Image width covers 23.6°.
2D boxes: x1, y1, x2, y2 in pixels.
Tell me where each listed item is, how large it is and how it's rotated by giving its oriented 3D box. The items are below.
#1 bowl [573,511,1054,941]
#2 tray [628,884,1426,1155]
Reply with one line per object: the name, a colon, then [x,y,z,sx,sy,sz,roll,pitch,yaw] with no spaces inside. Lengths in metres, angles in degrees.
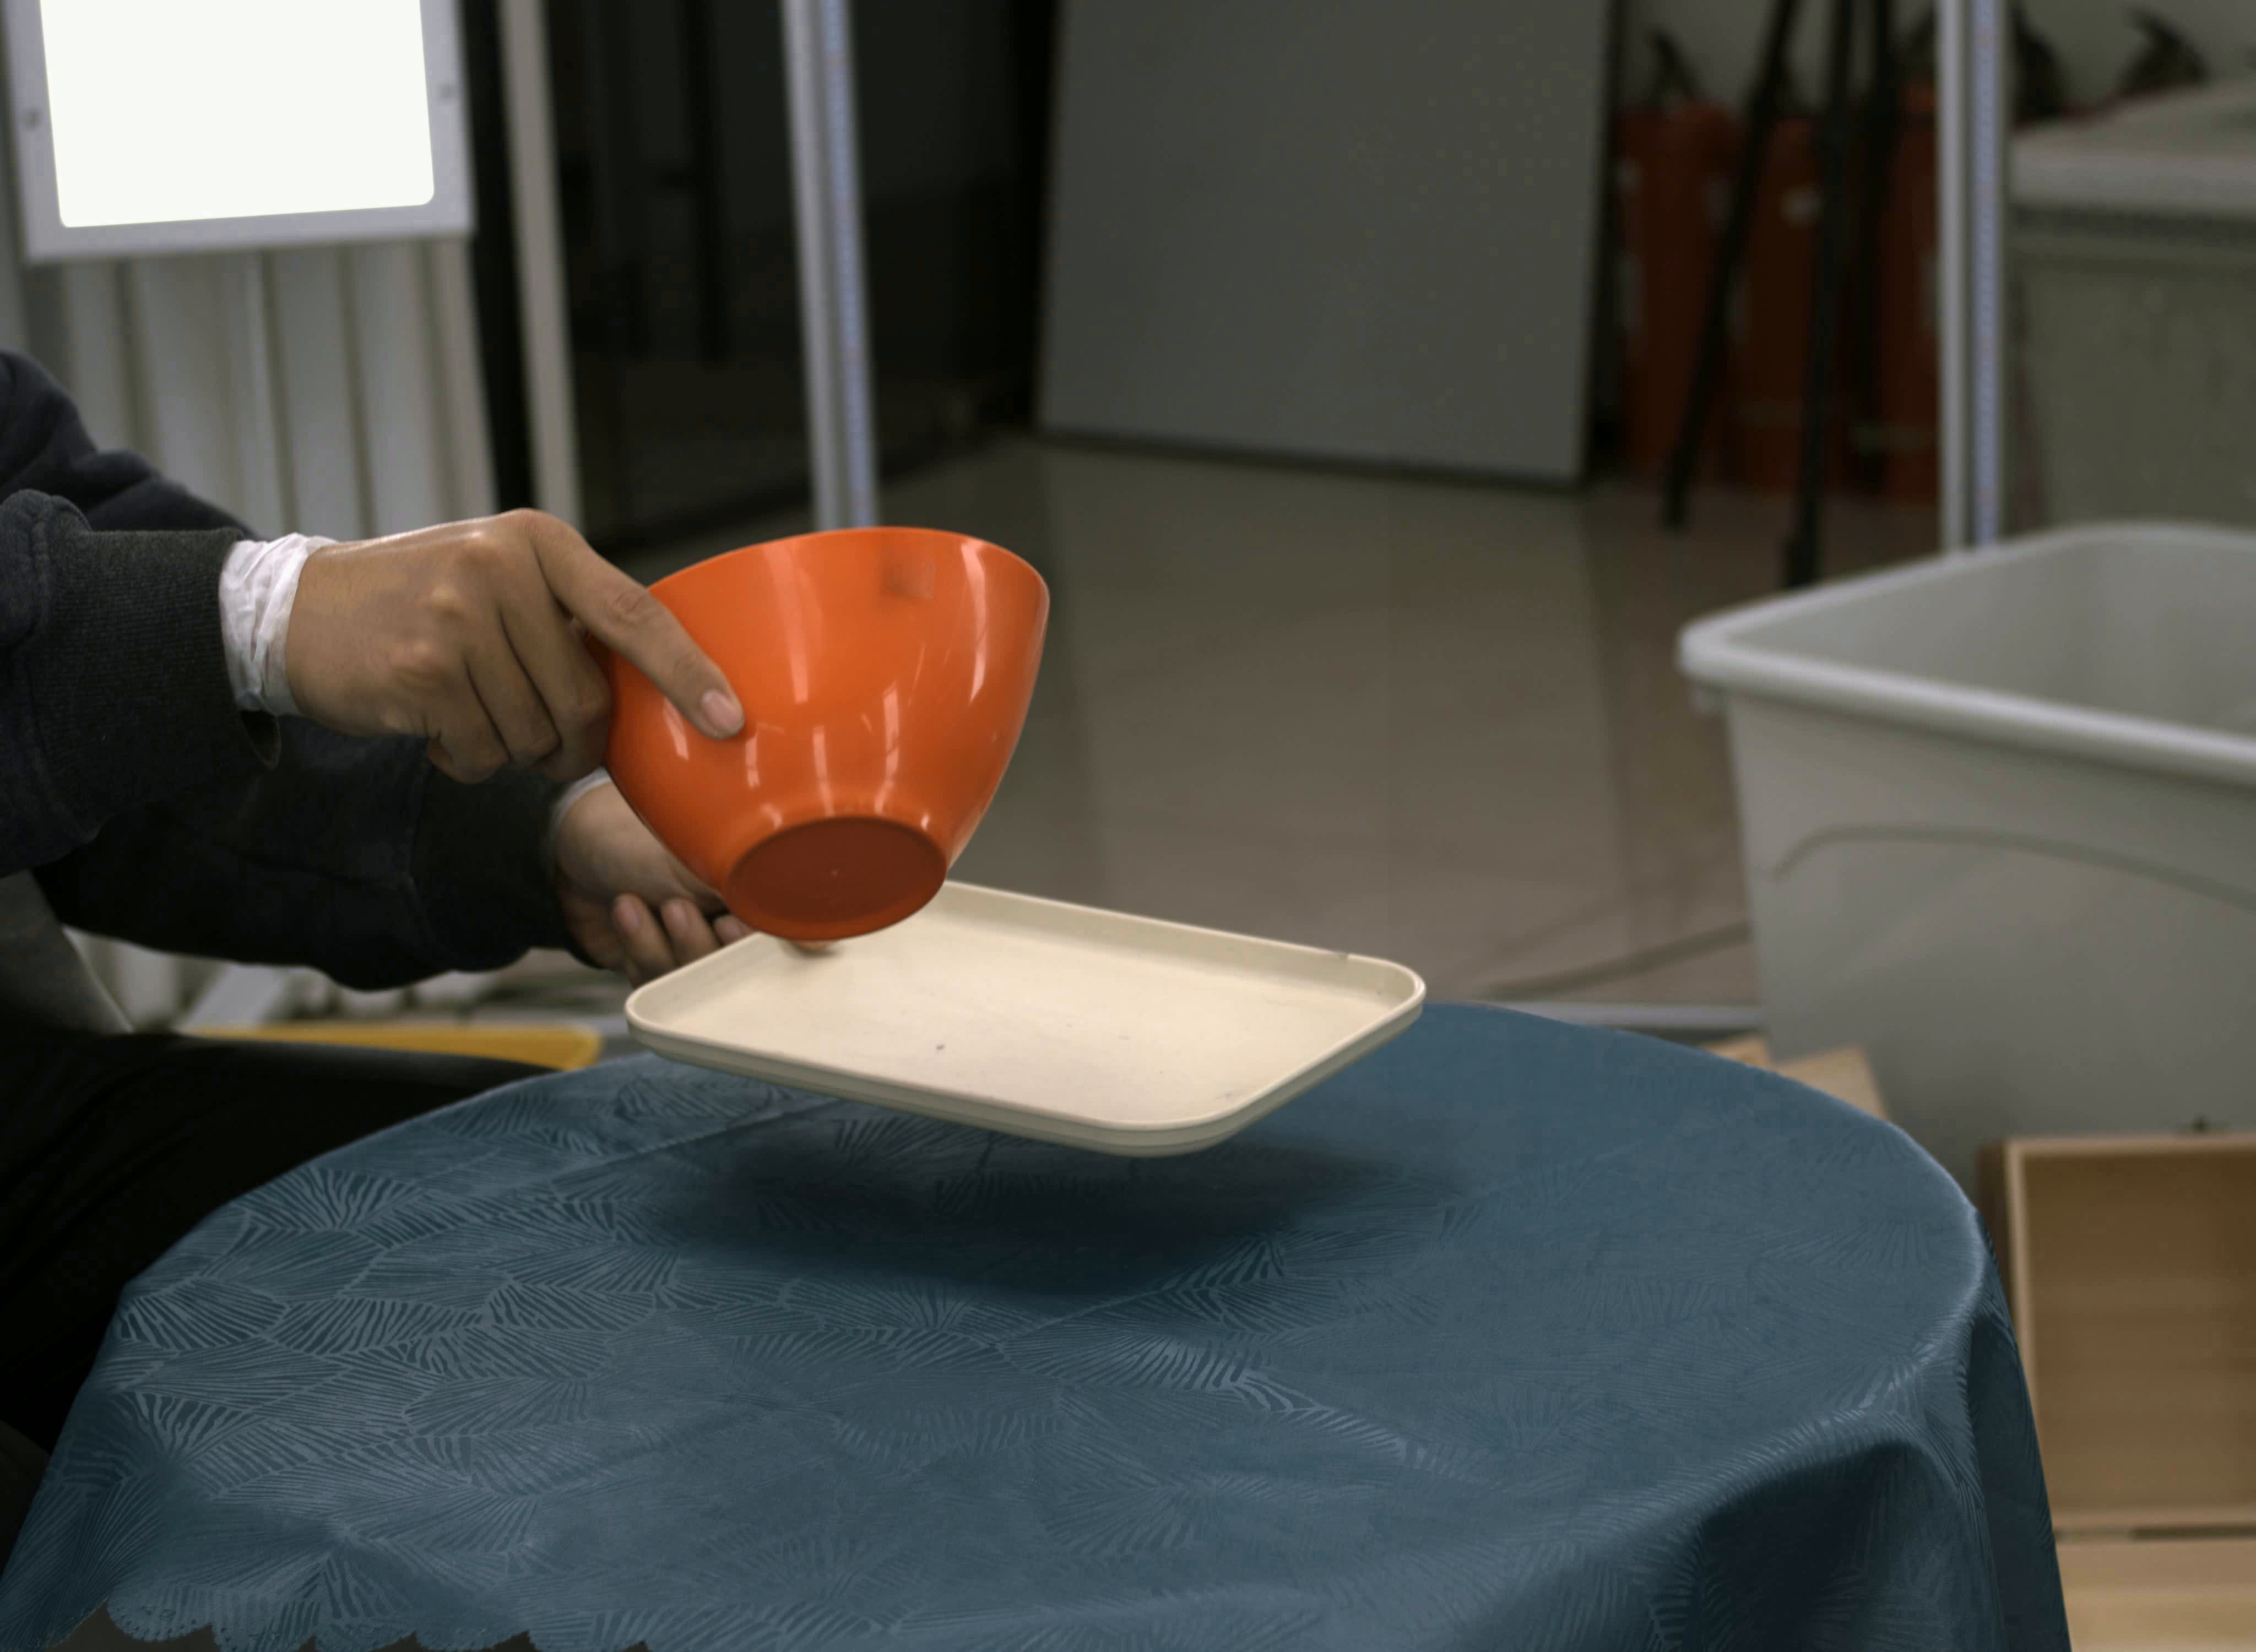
bowl: [-0.089,-0.022,1.600,0.145,0.148,0.106,-4,56,-6]
tray: [-0.033,0.063,1.782,0.241,0.017,0.168,9,21,34]
